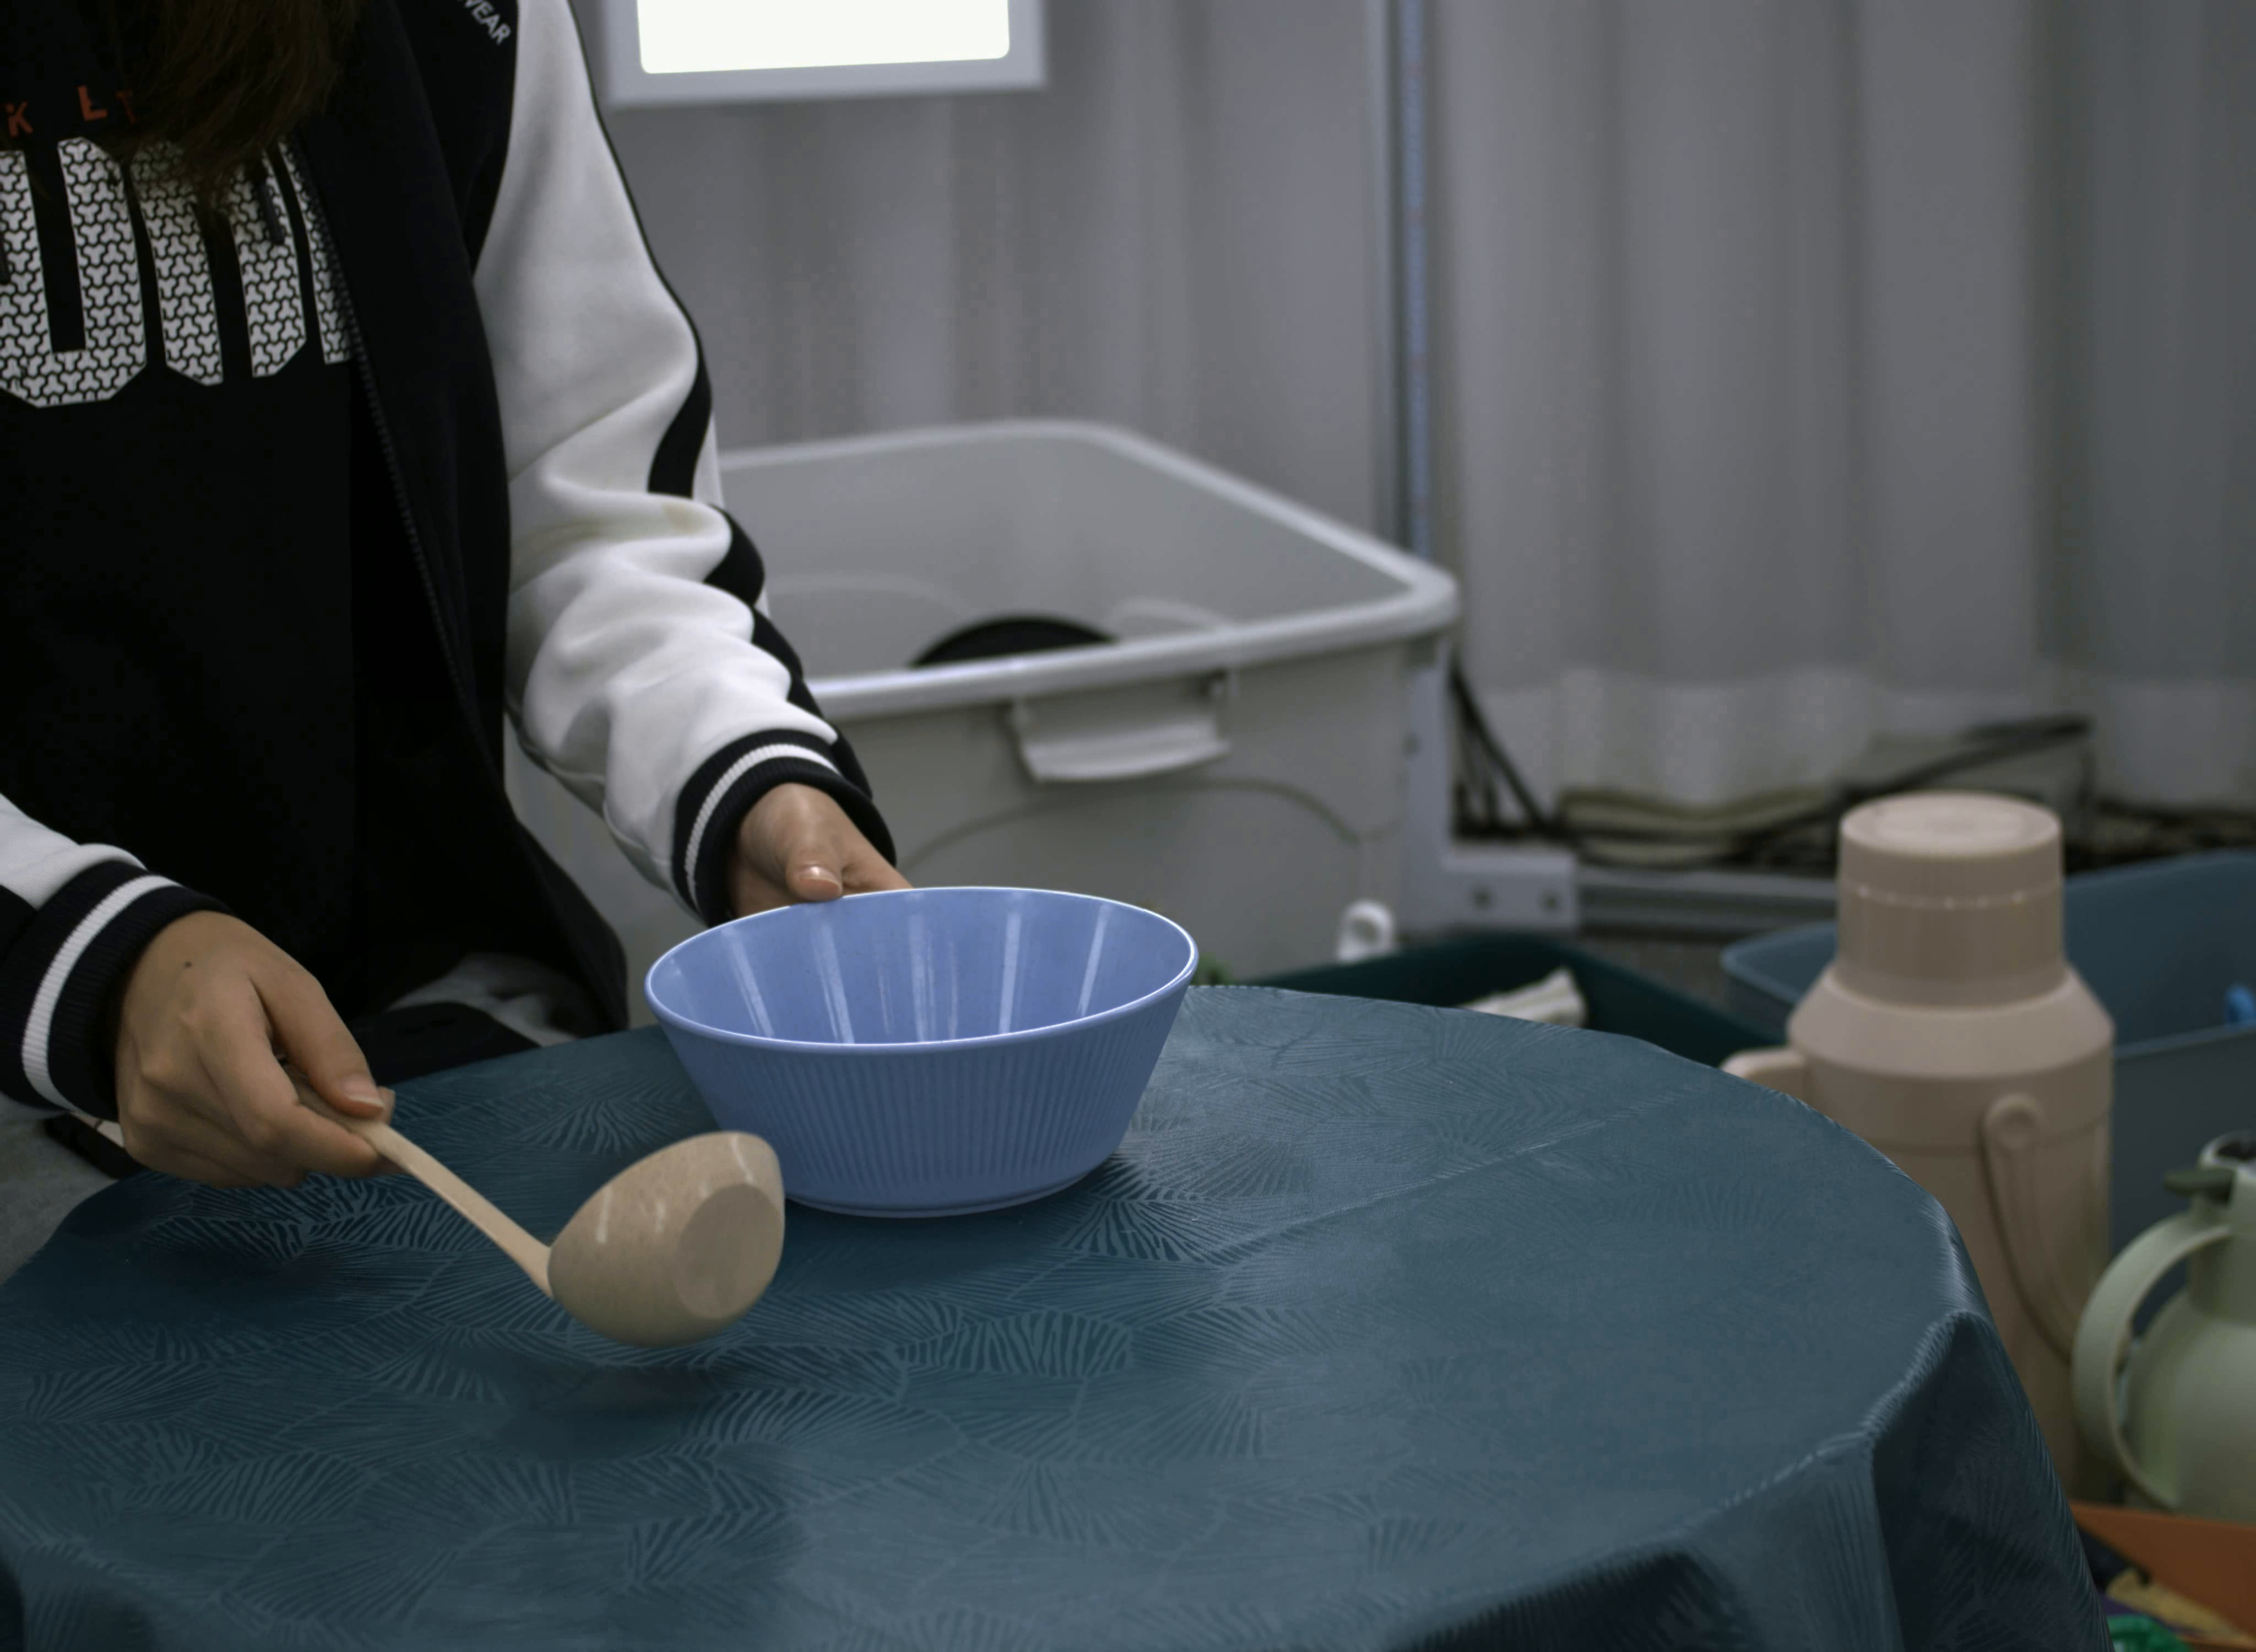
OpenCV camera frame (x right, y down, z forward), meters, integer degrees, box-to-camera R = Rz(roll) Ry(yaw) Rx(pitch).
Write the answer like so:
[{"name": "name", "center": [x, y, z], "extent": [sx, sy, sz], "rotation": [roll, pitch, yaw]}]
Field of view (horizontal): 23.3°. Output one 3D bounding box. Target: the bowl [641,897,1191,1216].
[{"name": "bowl", "center": [-0.066, 0.075, 1.740], "extent": [0.175, 0.070, 0.177], "rotation": [-2, 14, 0]}]

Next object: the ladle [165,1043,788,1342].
[{"name": "ladle", "center": [-0.199, 0.079, 1.620], "extent": [0.256, 0.072, 0.071], "rotation": [26, 14, 40]}]
